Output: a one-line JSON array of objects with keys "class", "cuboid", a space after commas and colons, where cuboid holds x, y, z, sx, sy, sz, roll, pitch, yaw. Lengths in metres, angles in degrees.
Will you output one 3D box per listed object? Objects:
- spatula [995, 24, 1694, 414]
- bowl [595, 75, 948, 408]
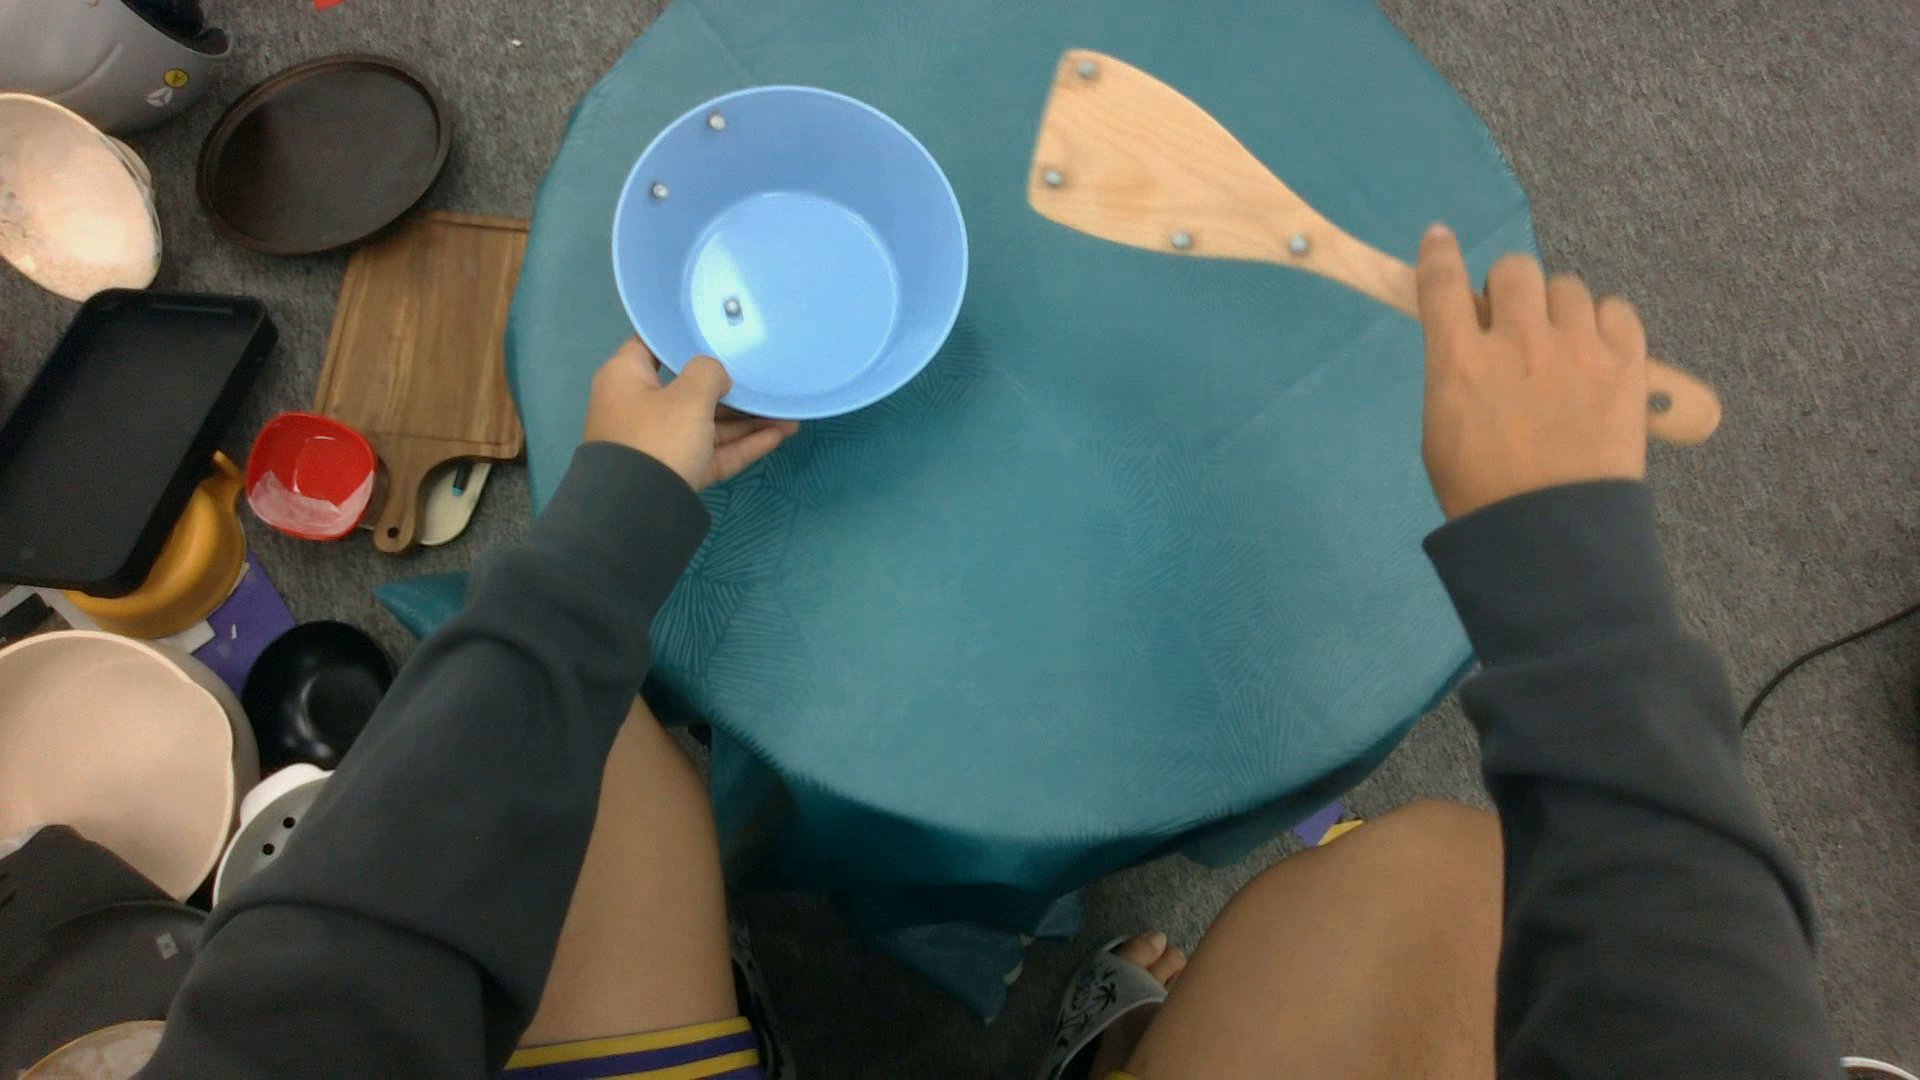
[{"class": "spatula", "cuboid": [0.154, -0.132, 0.598, 0.327, 0.016, 0.079, 30, 113, 19]}, {"class": "bowl", "cuboid": [-0.098, -0.145, 0.715, 0.176, 0.070, 0.176, 2, 79, -11]}]
